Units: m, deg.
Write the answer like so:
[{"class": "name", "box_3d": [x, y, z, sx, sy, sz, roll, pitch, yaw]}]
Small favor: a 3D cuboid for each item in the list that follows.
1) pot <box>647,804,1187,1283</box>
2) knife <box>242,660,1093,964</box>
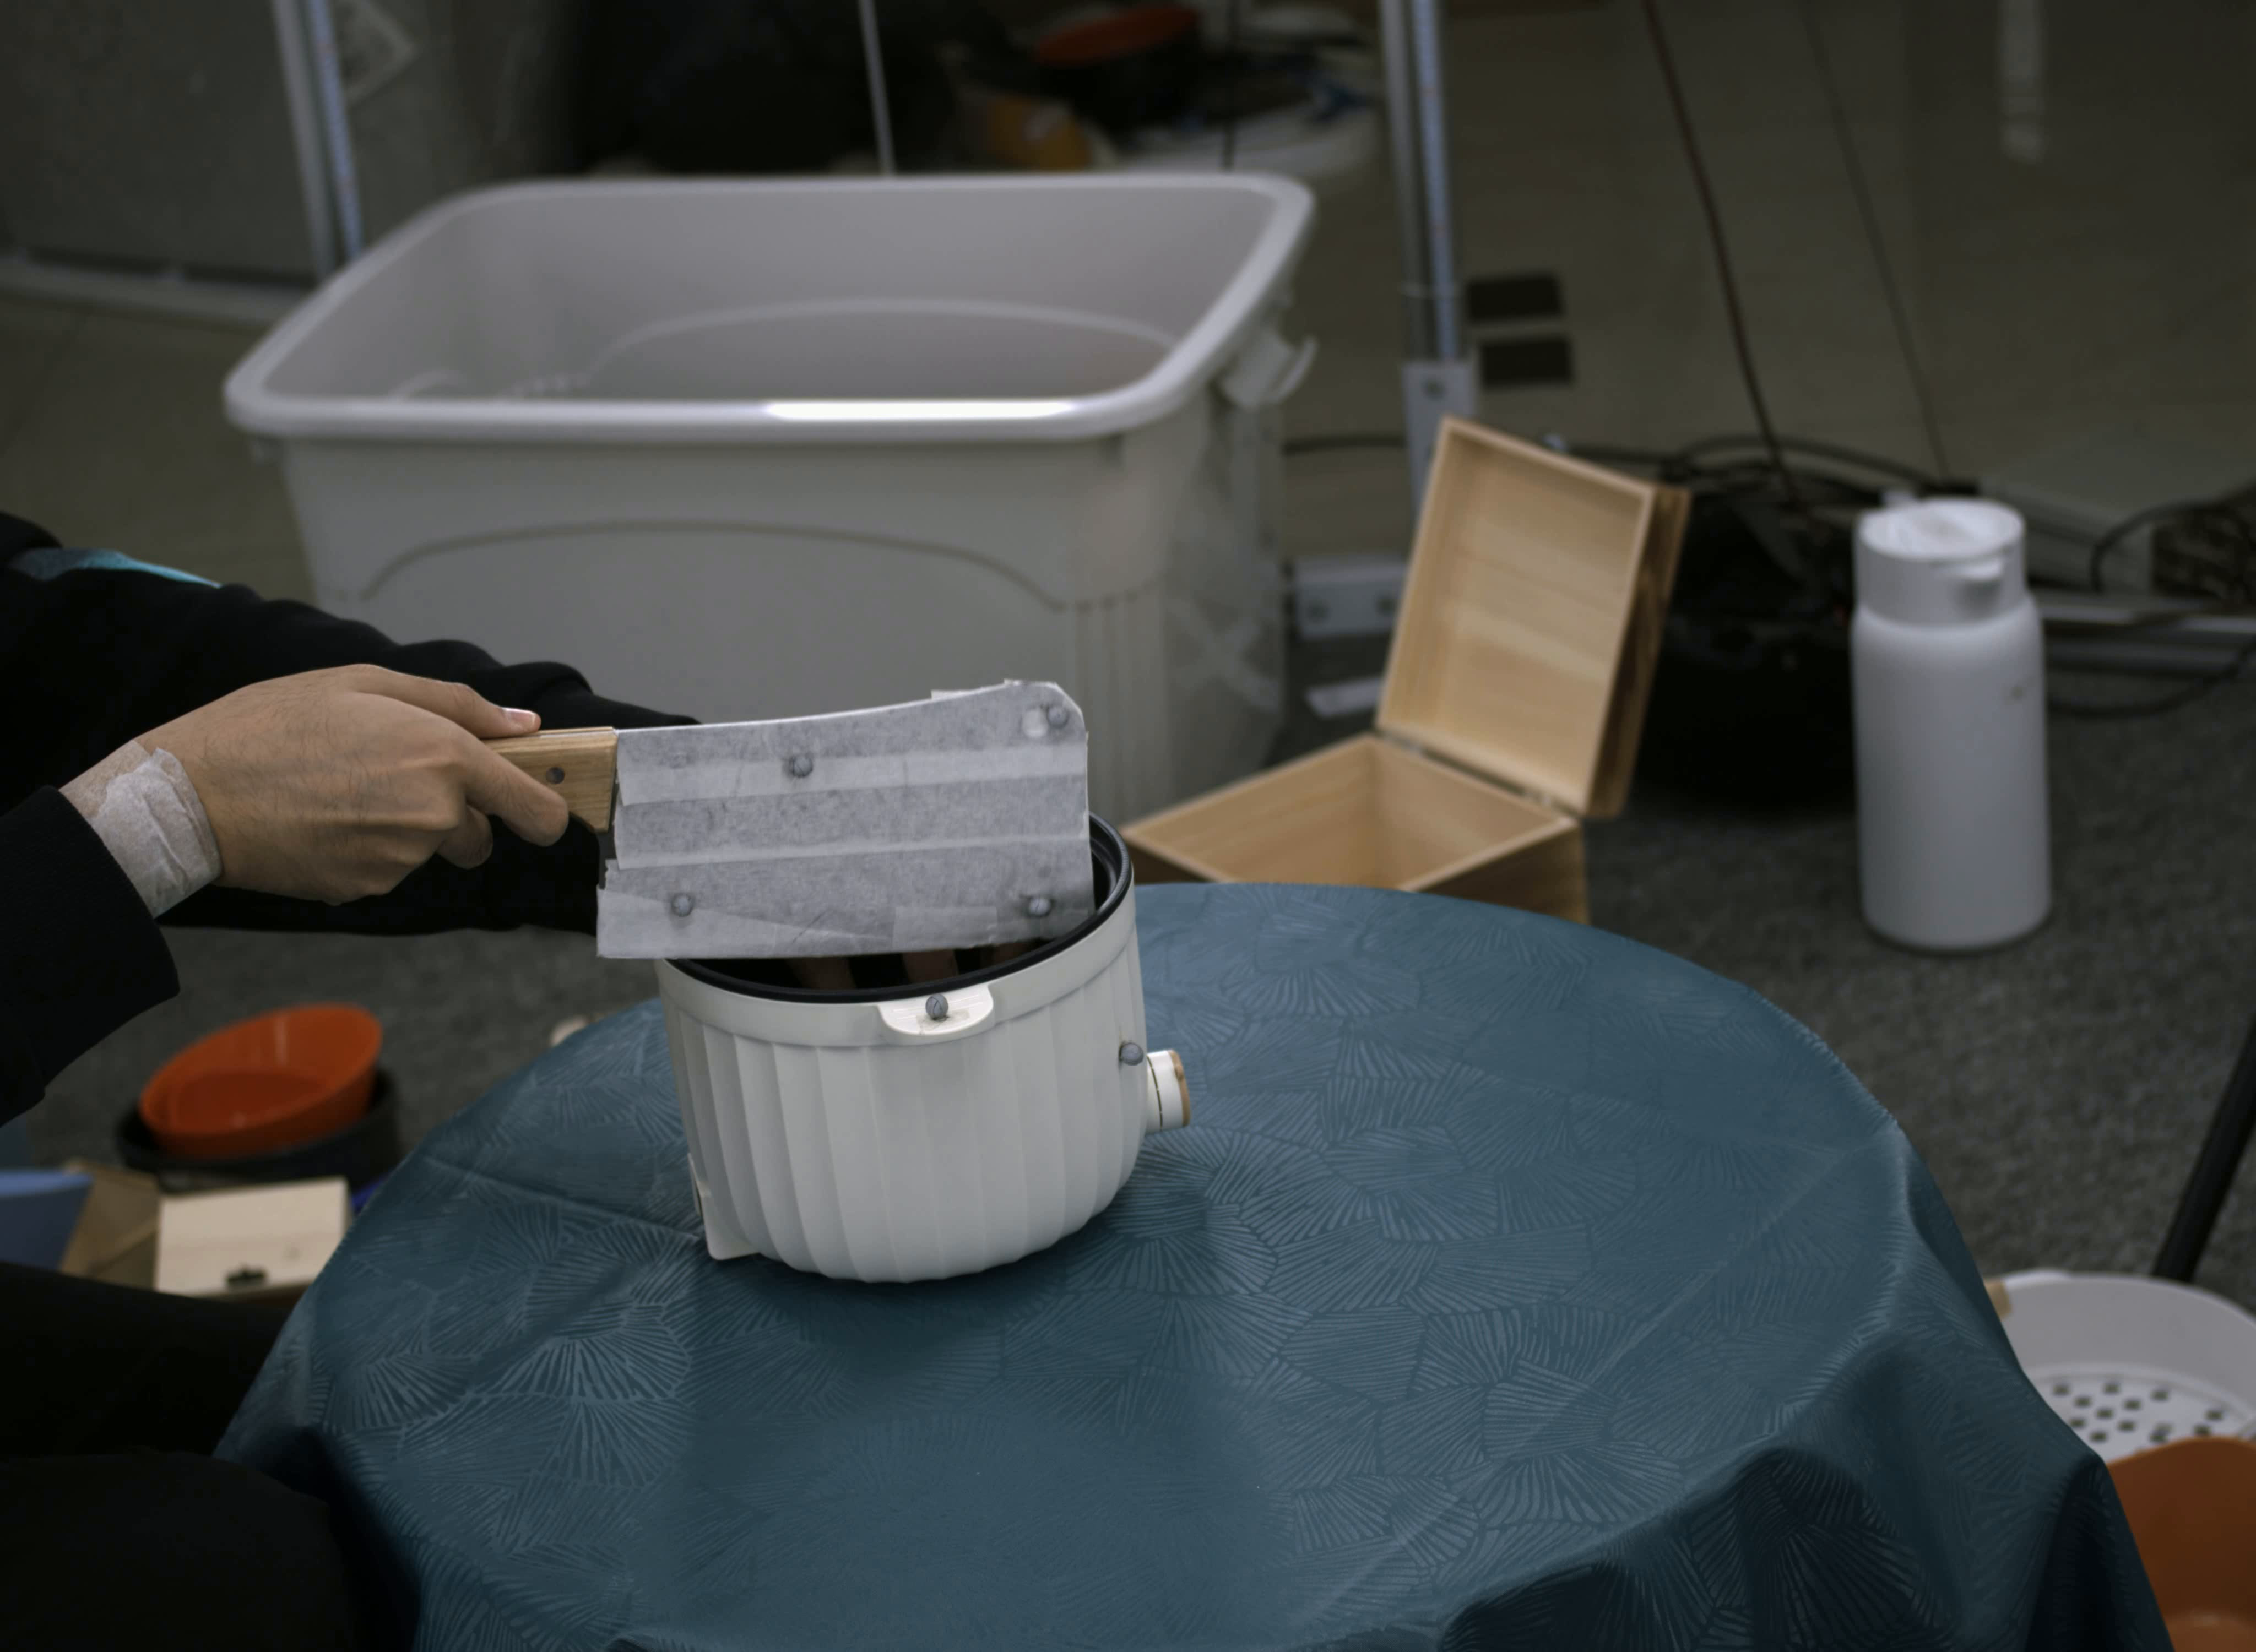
[{"class": "pot", "box_3d": [-0.078, 0.080, 2.125, 0.190, 0.145, 0.237, -13, 27, -7]}, {"class": "knife", "box_3d": [-0.160, -0.005, 2.034, 0.315, 0.115, 0.021, 0, 18, -15]}]
